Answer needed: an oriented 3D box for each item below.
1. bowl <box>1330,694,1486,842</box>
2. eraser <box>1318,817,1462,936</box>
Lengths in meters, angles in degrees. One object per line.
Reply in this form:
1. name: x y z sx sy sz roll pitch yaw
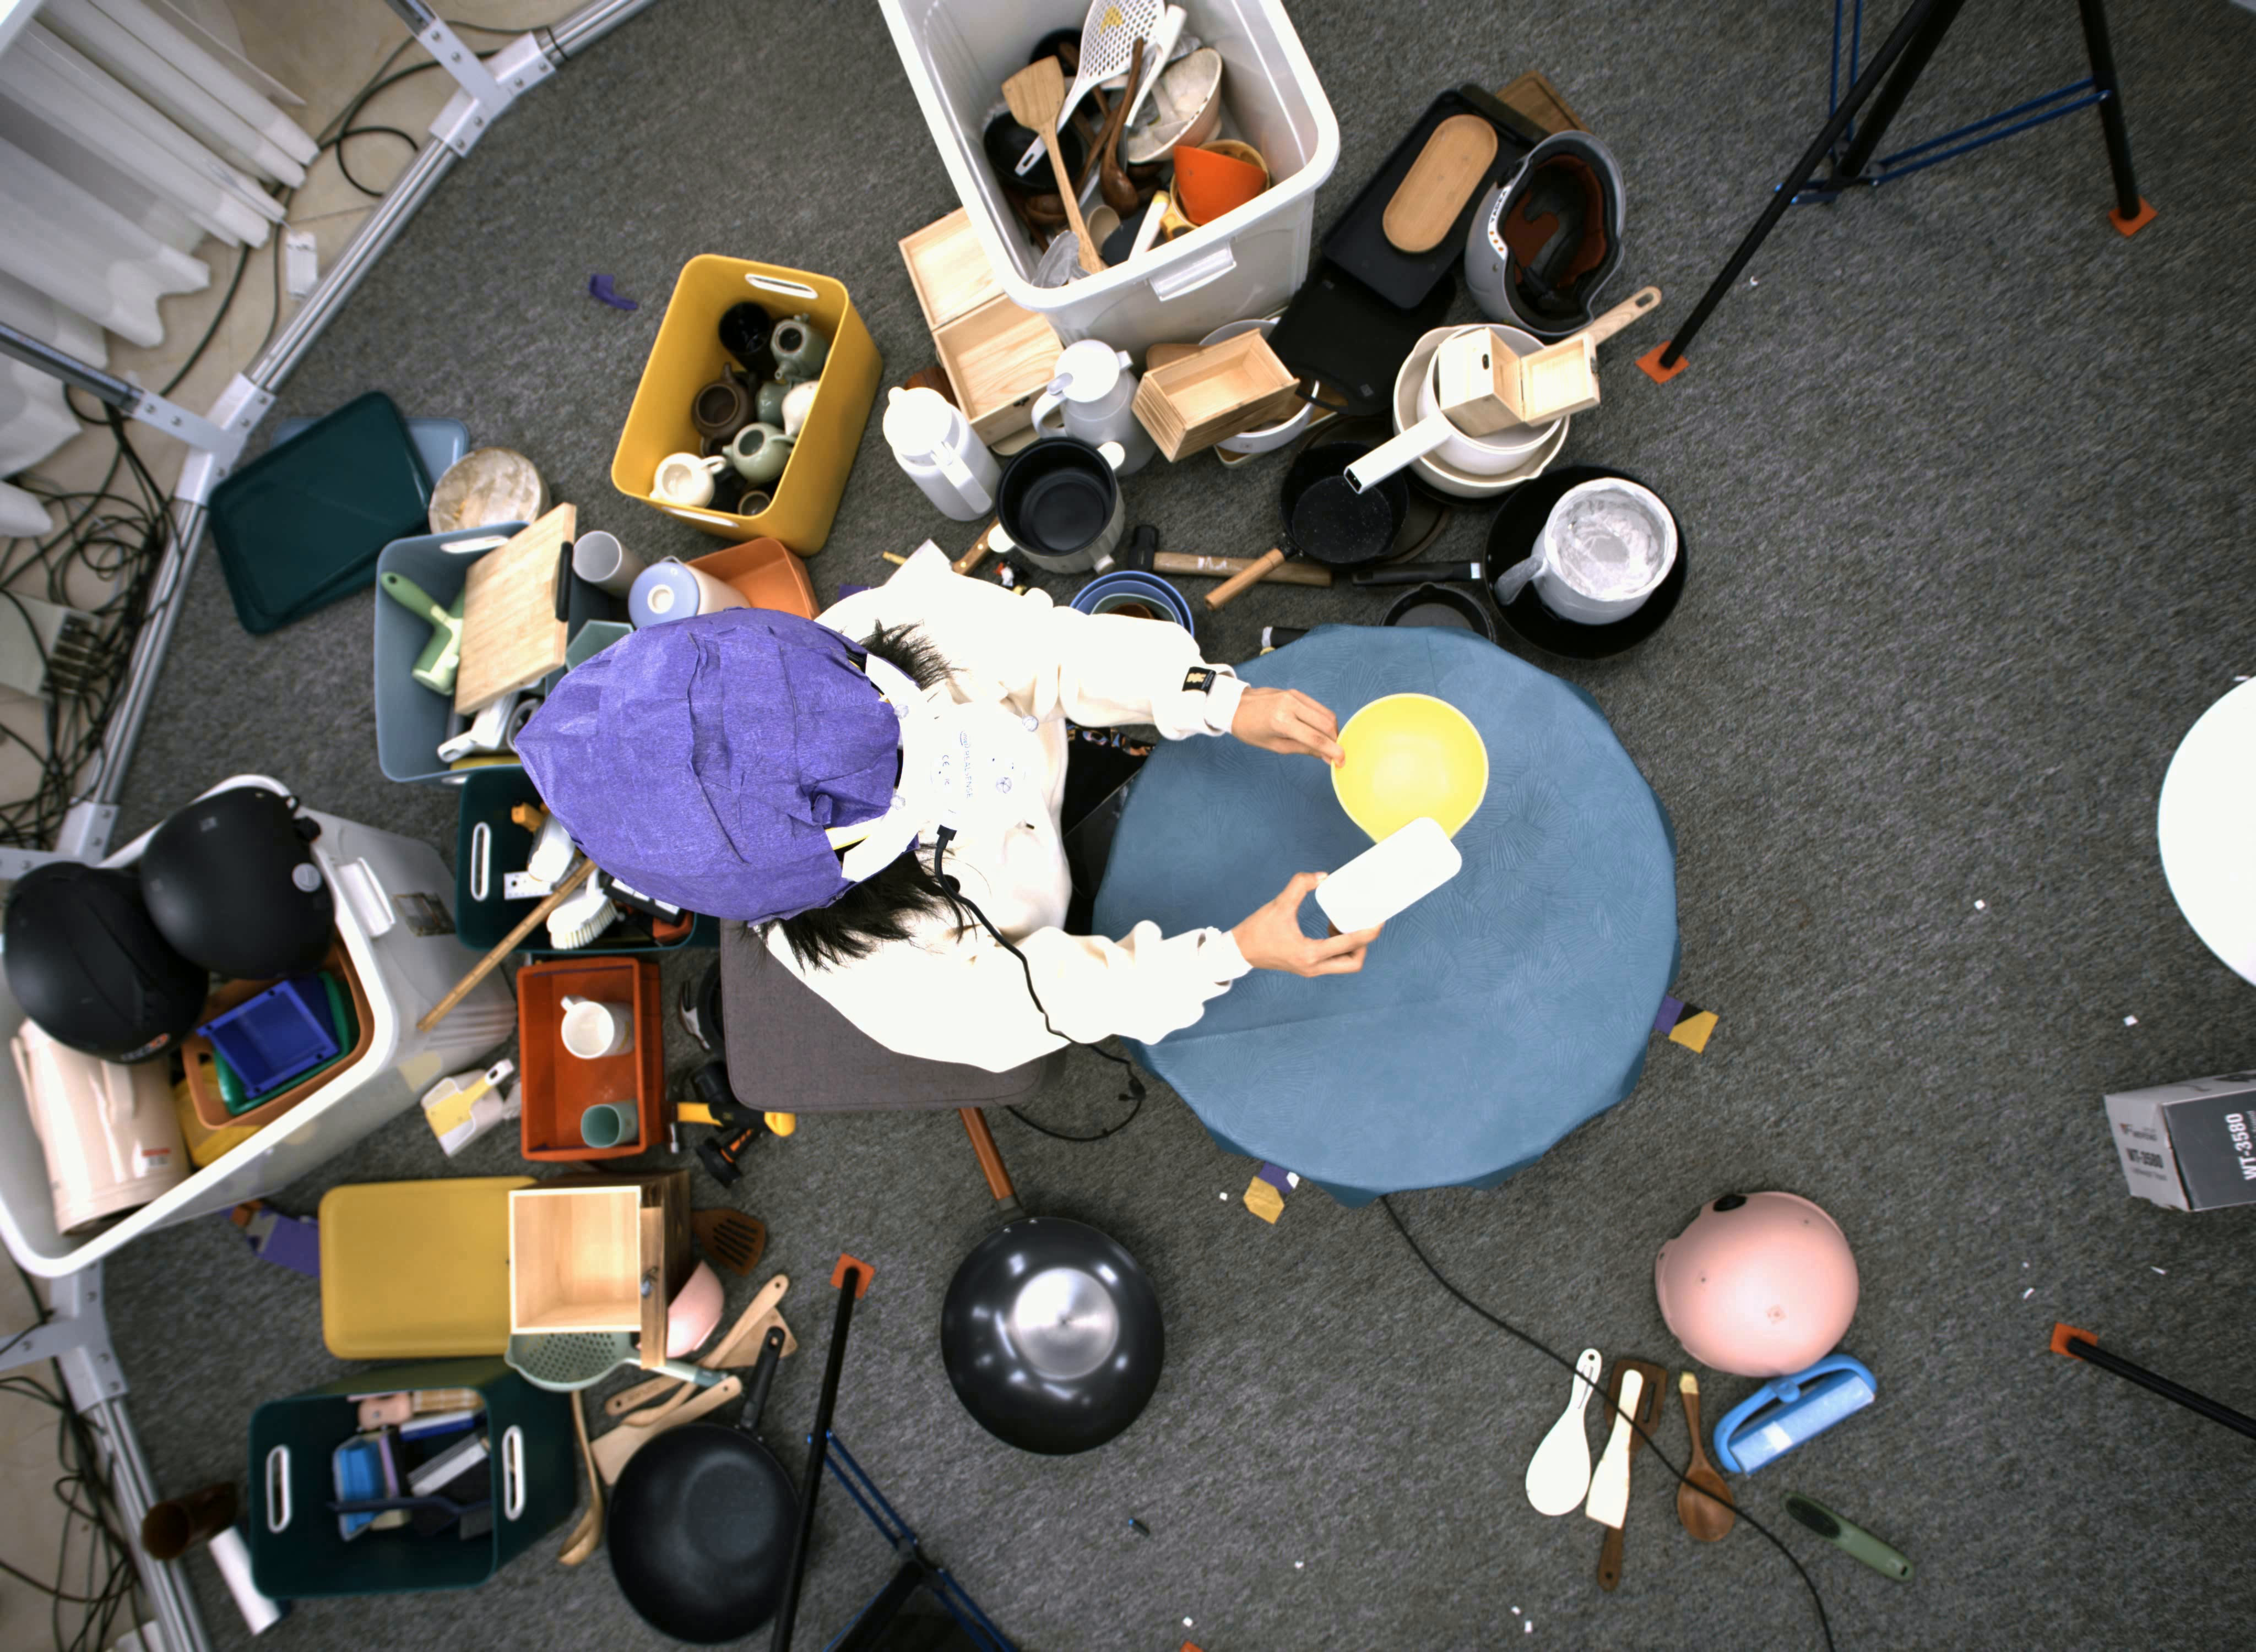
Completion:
1. bowl: 0.263 -0.050 1.308 0.146 0.060 0.144 -1 82 6
2. eraser: 0.239 0.043 1.267 0.133 0.034 0.064 -34 99 17
